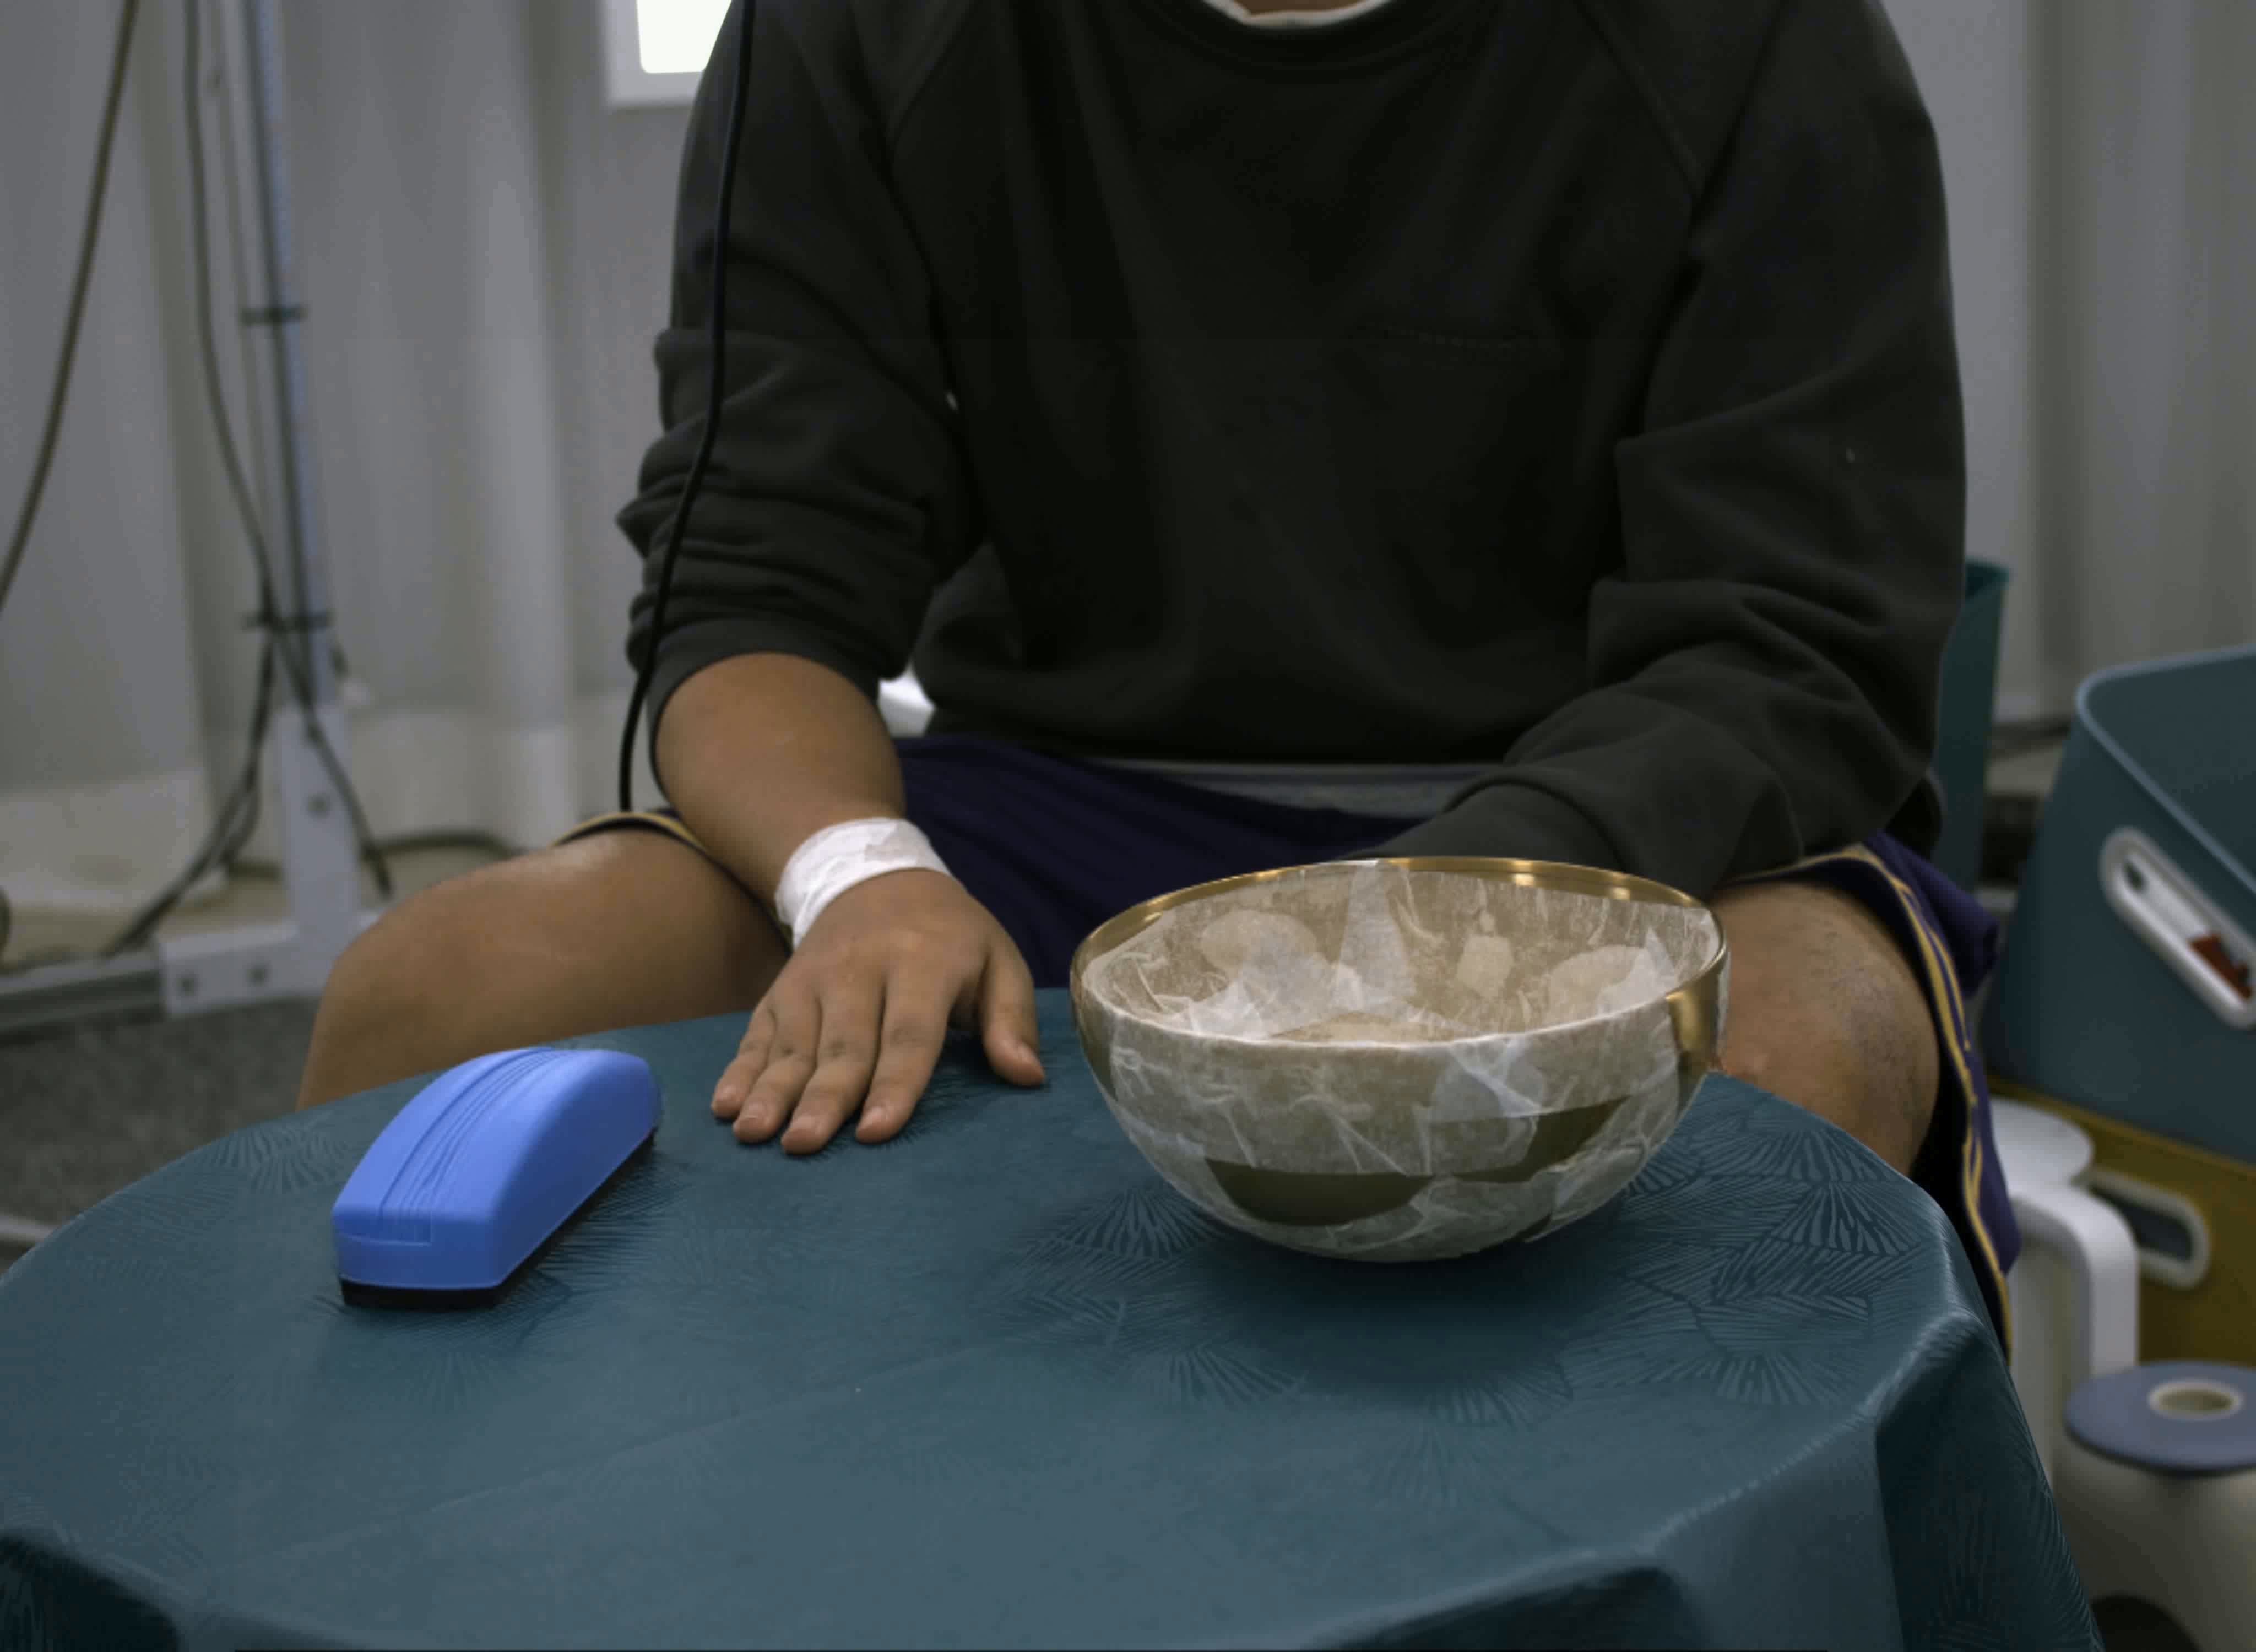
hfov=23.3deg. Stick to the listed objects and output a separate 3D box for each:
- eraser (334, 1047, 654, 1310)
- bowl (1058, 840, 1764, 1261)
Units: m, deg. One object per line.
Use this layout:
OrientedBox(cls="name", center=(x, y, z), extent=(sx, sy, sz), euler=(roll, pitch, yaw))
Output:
OrientedBox(cls="eraser", center=(-0.197, 0.103, 1.709), extent=(0.054, 0.047, 0.163), euler=(-1, 15, 14))
OrientedBox(cls="bowl", center=(0.086, 0.077, 1.661), extent=(0.214, 0.094, 0.216), euler=(-4, 15, 1))
